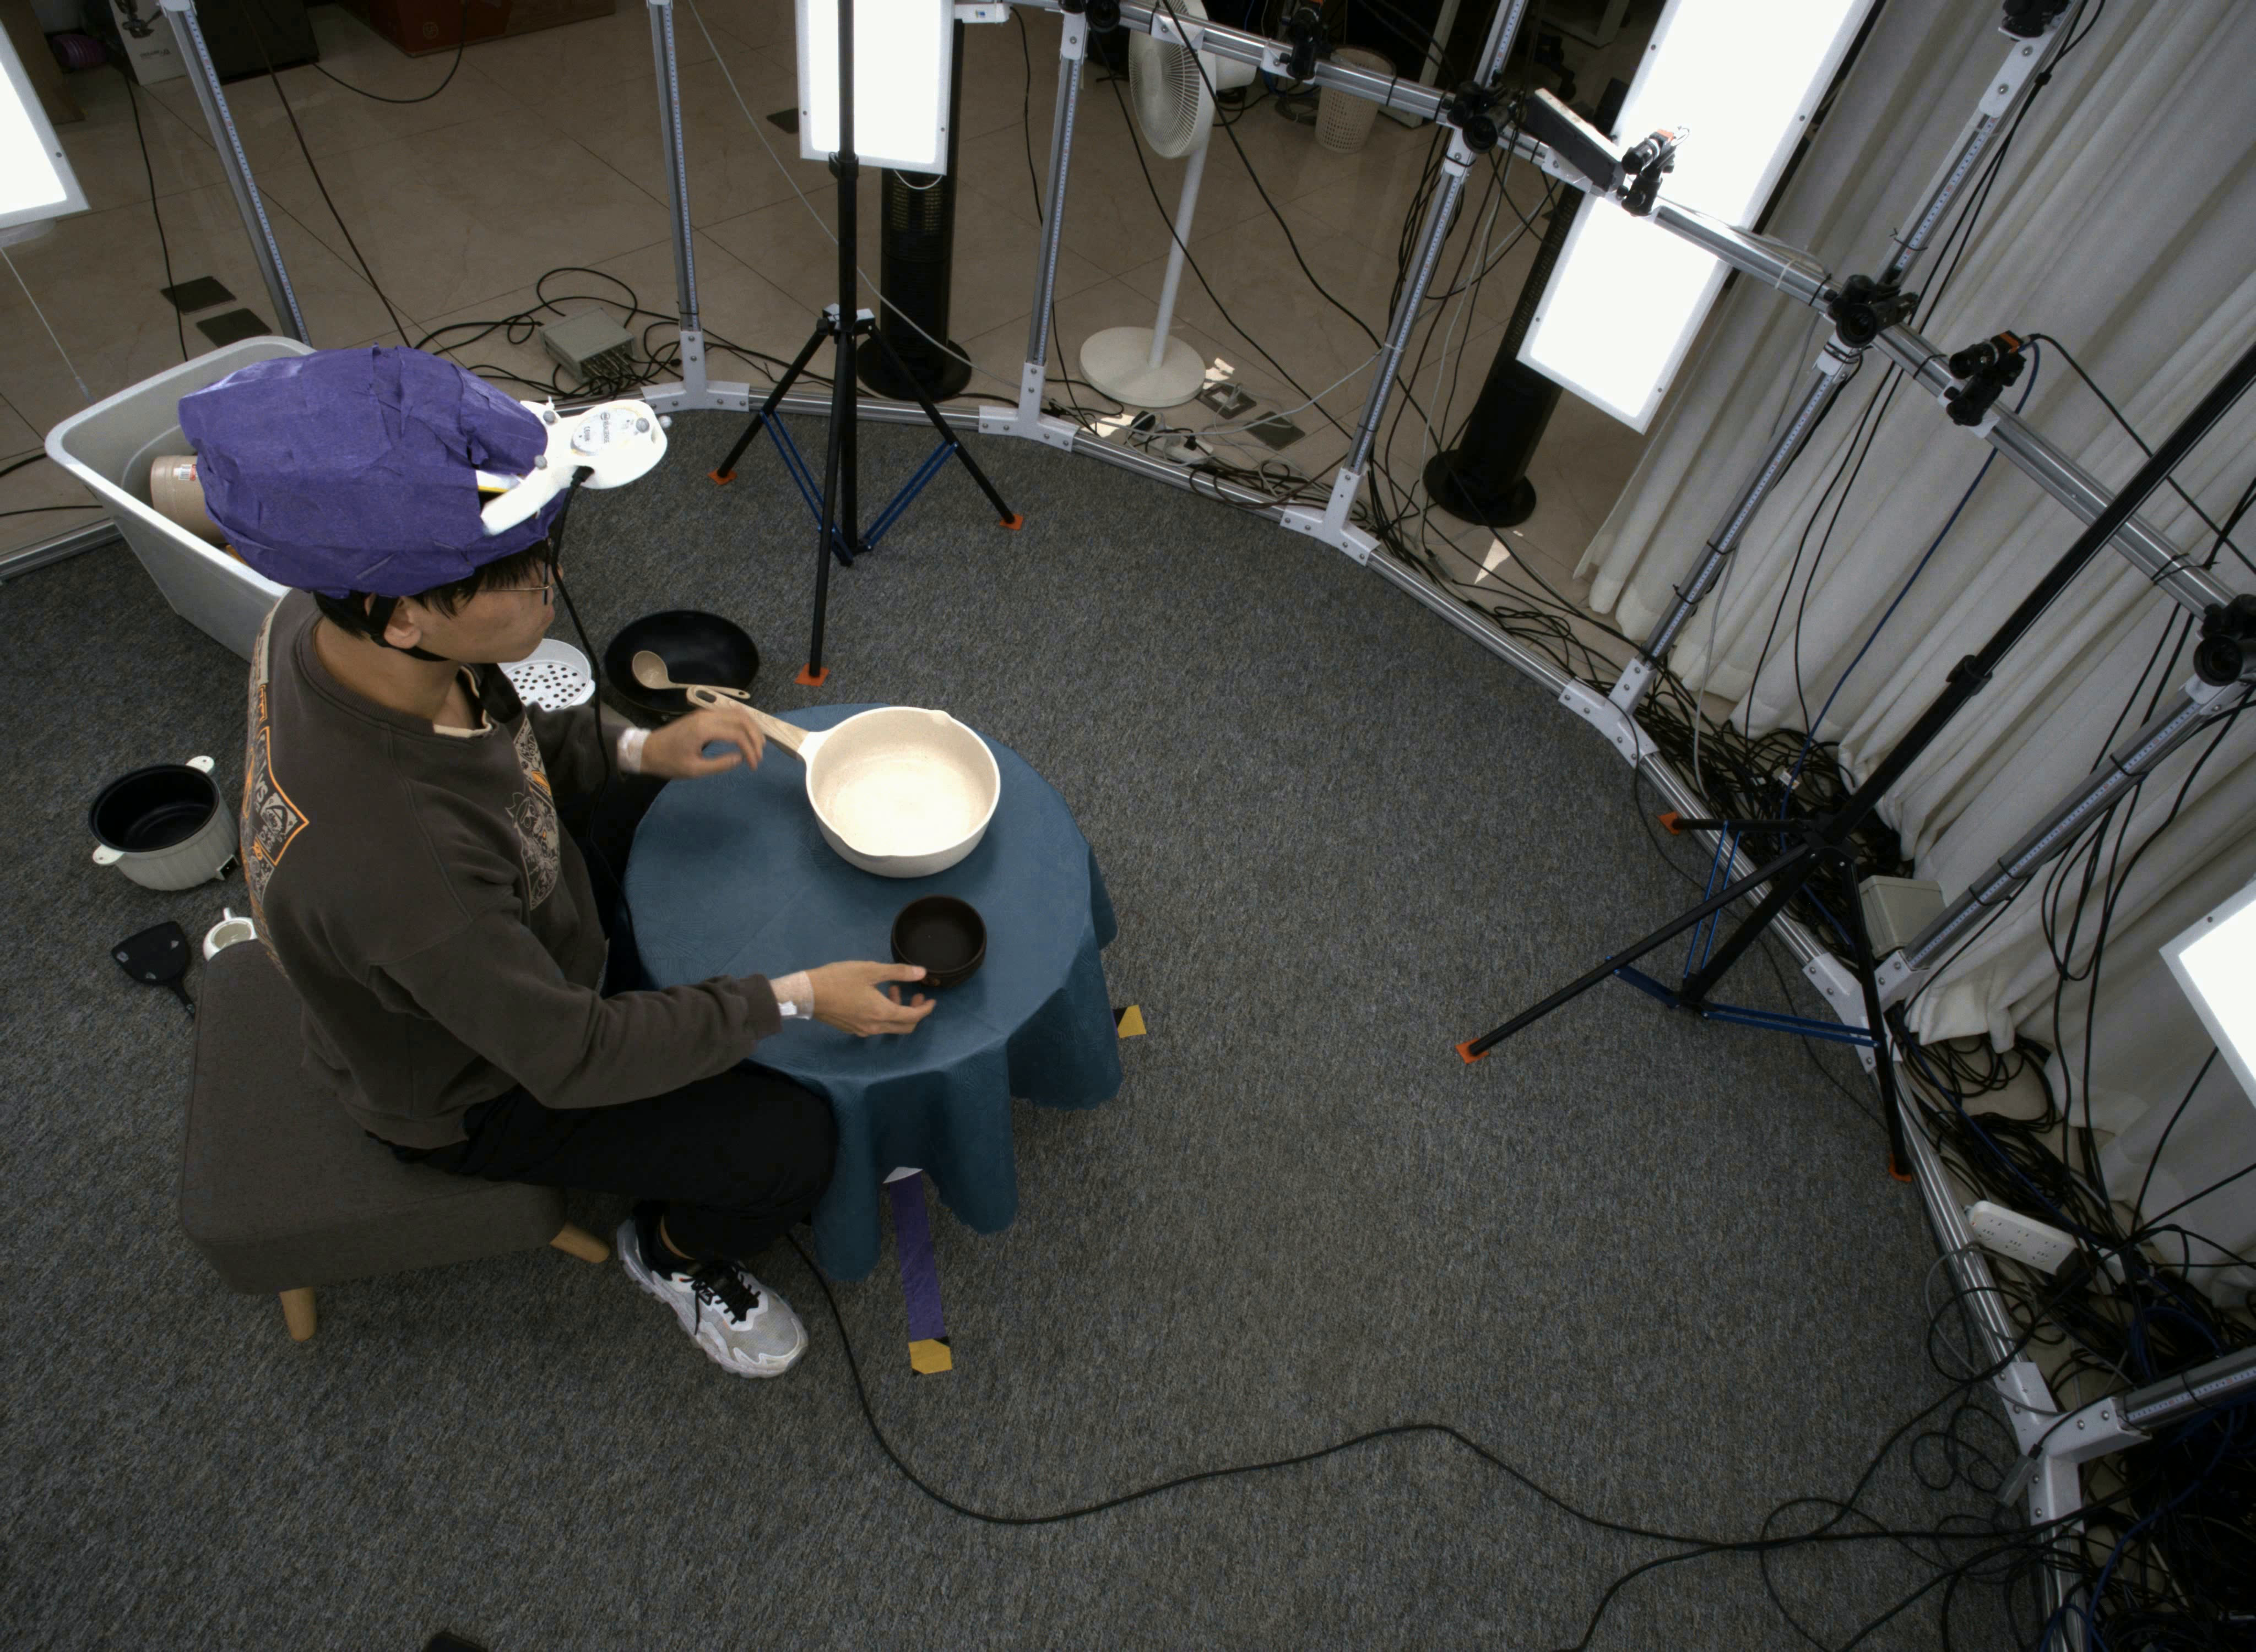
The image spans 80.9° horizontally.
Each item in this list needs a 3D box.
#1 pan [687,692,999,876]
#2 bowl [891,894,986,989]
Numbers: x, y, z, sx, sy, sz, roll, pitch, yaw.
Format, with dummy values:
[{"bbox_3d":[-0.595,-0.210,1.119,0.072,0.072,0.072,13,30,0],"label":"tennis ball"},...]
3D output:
[{"bbox_3d":[-0.385,-0.077,1.742,0.430,0.104,0.261,19,54,2],"label":"pan"},{"bbox_3d":[-0.237,0.150,1.628,0.117,0.071,0.116,6,54,-7],"label":"bowl"}]
